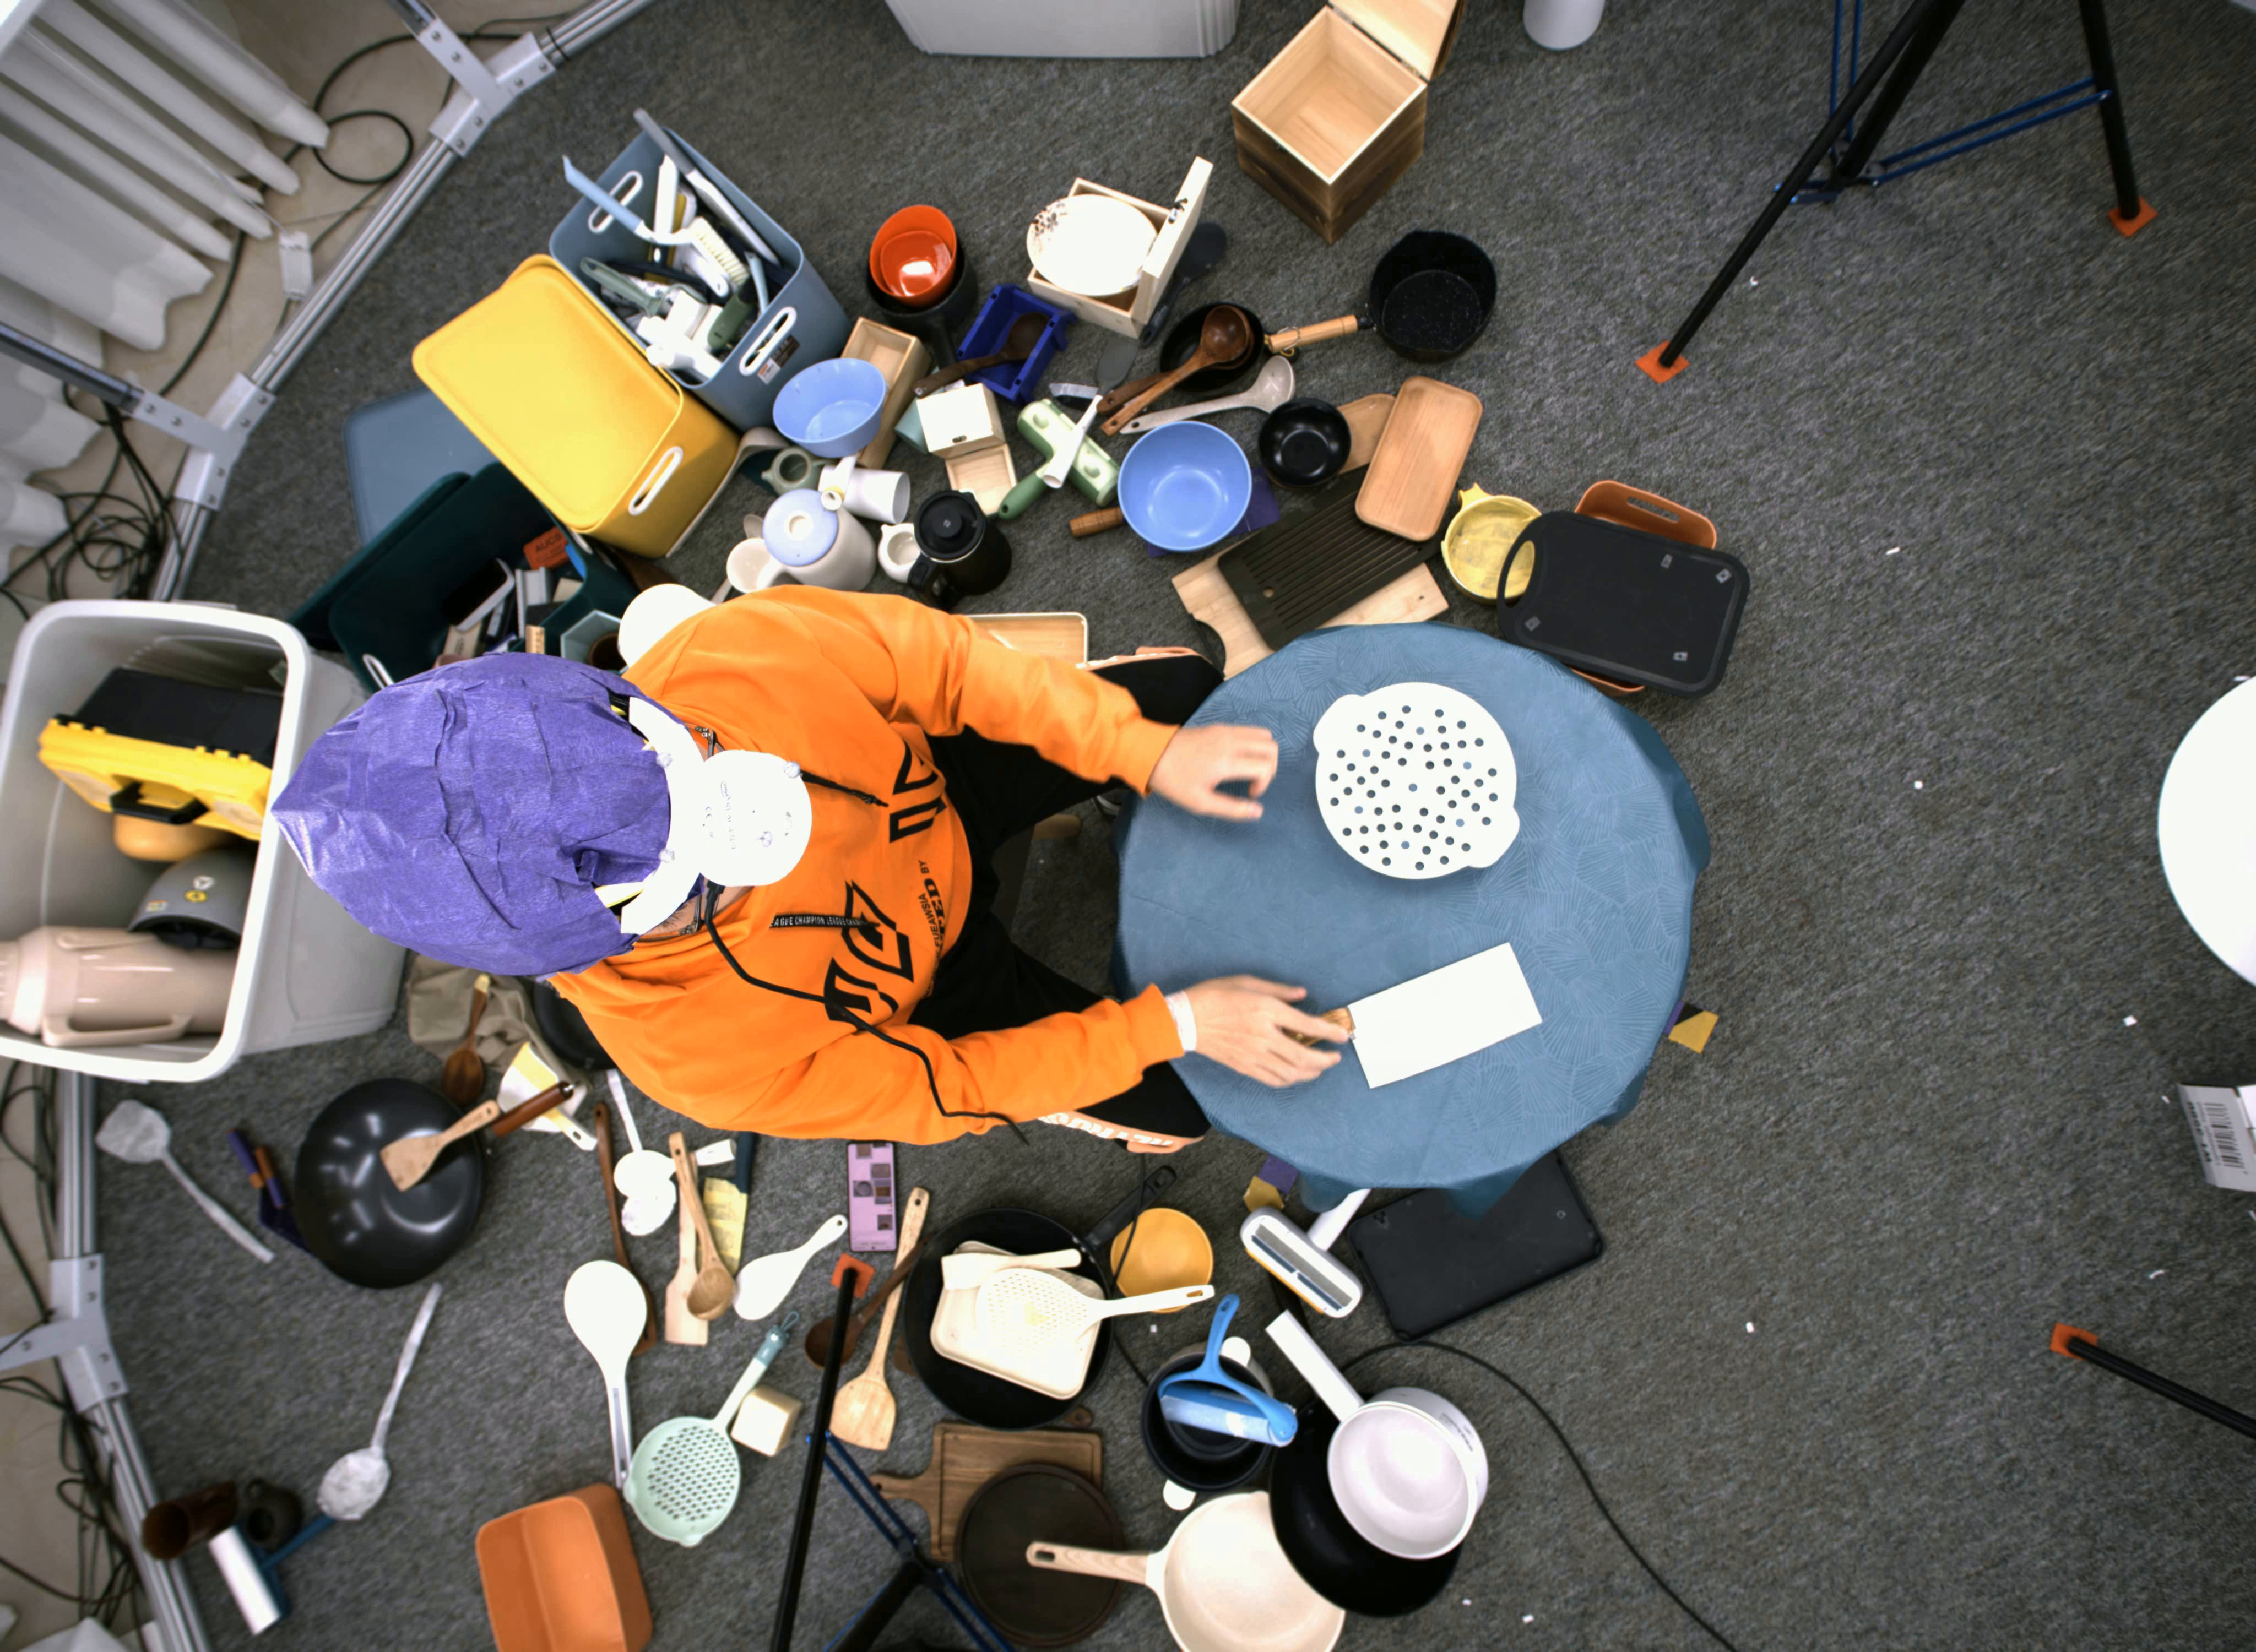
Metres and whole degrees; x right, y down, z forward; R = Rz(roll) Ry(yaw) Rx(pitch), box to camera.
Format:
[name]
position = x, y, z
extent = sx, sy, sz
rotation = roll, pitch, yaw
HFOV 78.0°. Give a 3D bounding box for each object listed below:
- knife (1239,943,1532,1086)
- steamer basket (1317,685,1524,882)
[knife]
position = 0.271, 0.215, 1.444
extent = 0.307, 0.021, 0.092
rotation = -22, 86, 7
[steamer basket]
position = 0.301, -0.043, 1.426
extent = 0.230, 0.069, 0.202
rotation = 38, 94, 9
